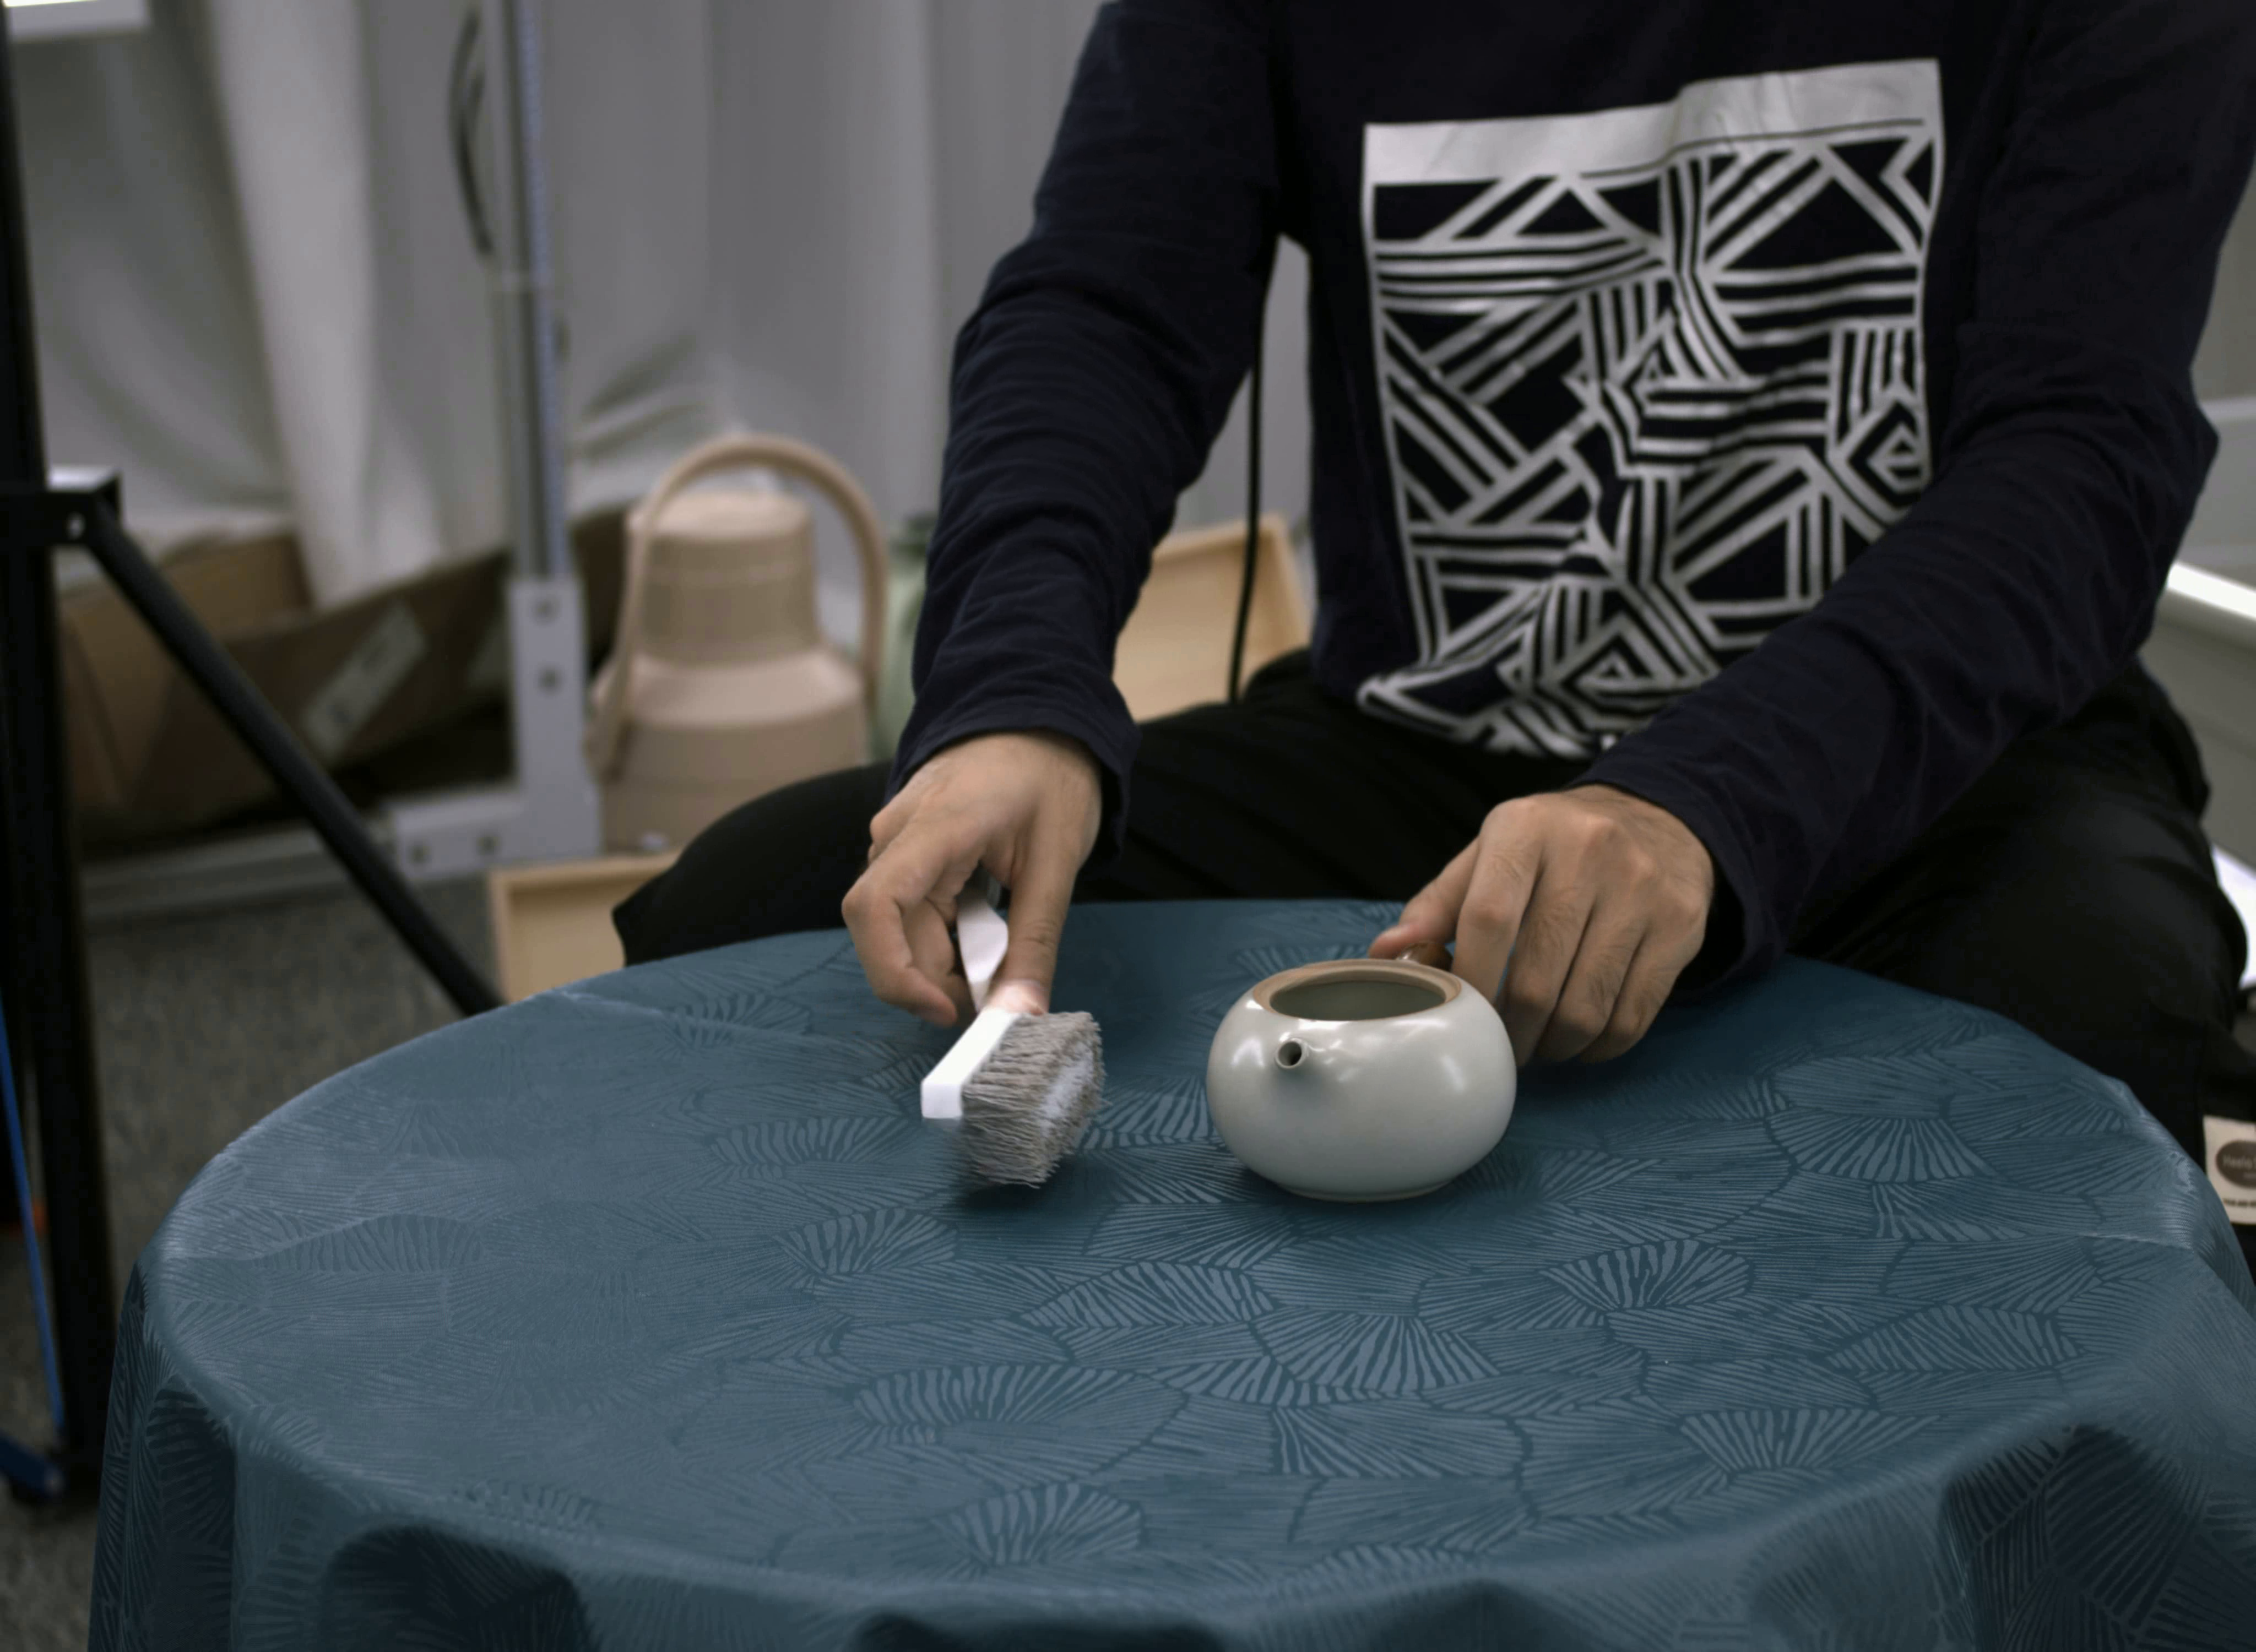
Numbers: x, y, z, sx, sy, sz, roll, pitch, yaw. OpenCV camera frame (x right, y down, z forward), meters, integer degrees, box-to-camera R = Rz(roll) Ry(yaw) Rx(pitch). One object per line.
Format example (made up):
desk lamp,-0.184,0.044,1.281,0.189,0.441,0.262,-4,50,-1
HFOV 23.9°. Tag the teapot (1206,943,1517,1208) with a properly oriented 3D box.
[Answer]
teapot,0.072,0.073,1.569,0.093,0.059,0.126,2,16,23

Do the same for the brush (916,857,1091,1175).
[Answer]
brush,-0.035,0.053,1.653,0.050,0.034,0.244,-7,17,3
